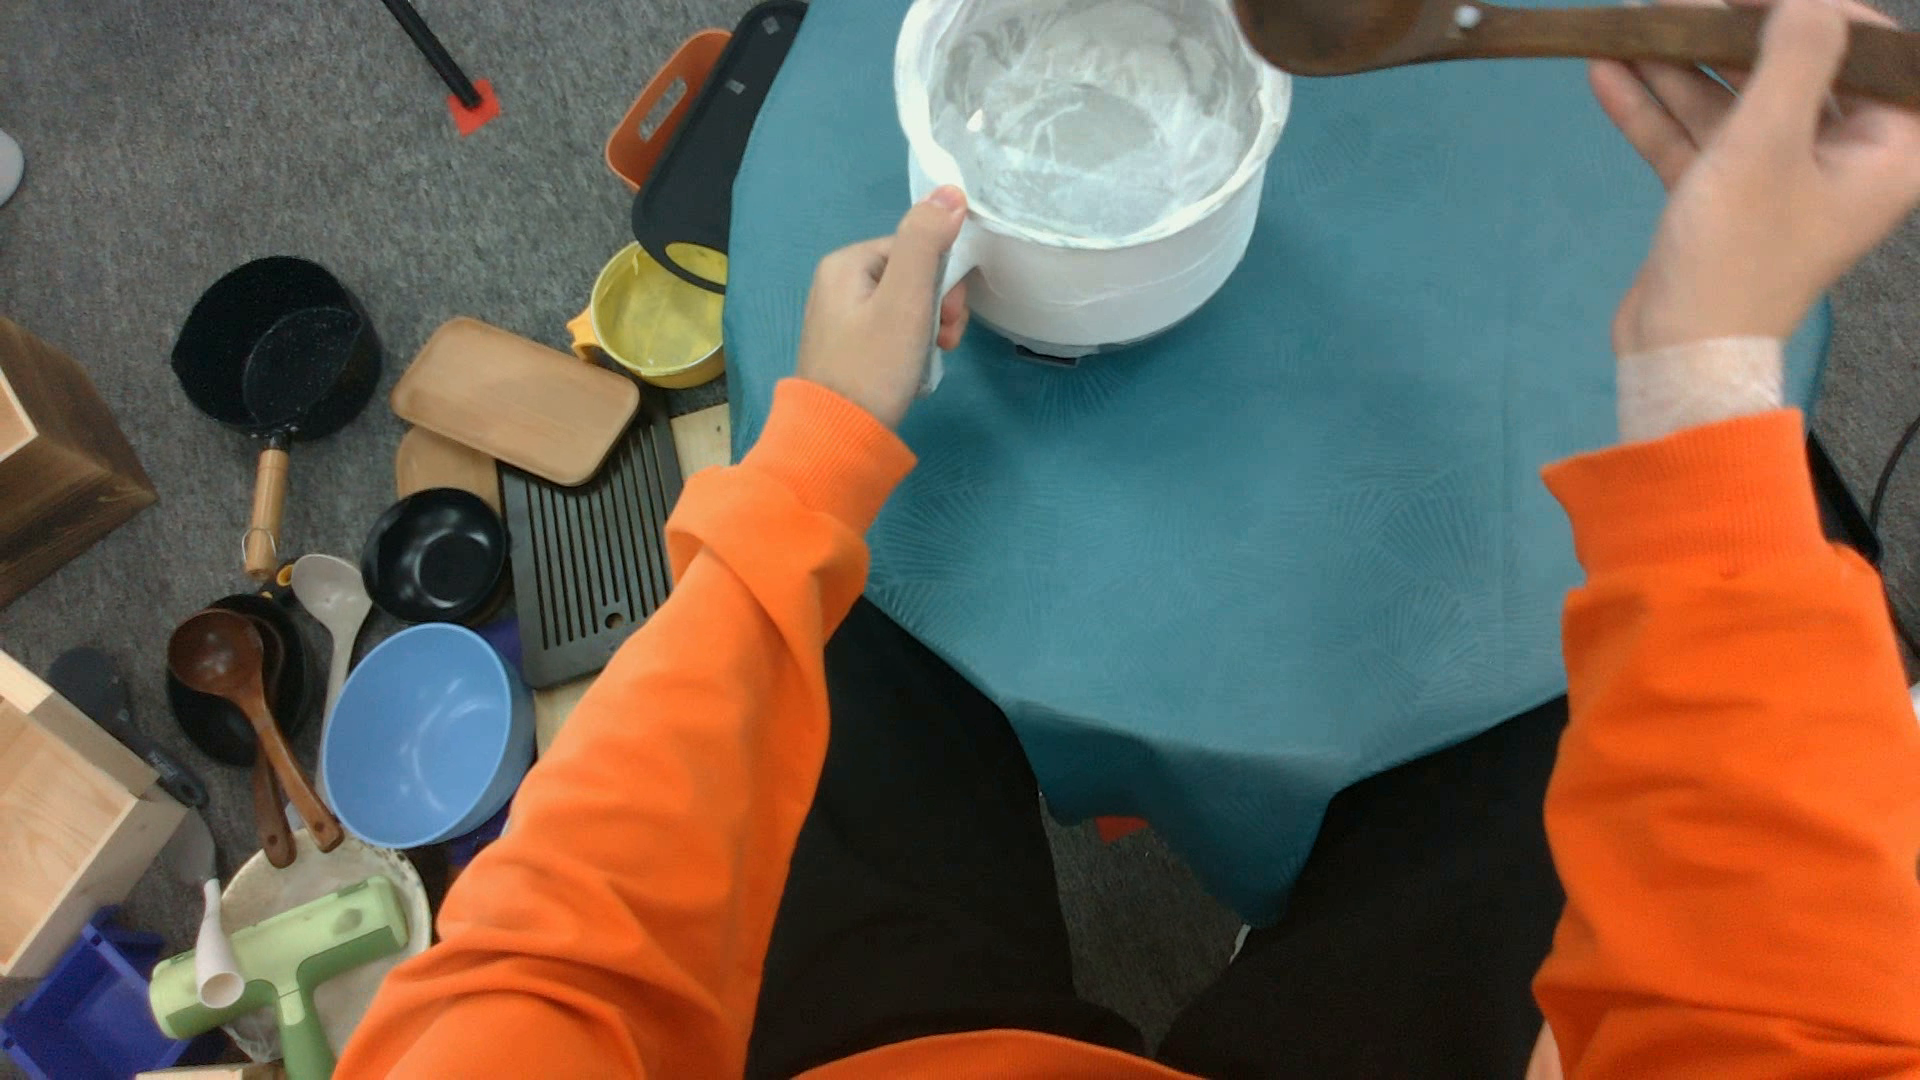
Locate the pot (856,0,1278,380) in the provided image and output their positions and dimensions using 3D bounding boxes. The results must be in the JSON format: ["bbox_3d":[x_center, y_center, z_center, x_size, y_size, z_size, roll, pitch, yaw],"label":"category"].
[{"bbox_3d":[0.038,-0.180,0.670,0.179,0.136,0.234,40,78,13],"label":"pot"}]

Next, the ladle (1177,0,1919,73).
[{"bbox_3d":[0.201,-0.198,0.484,0.274,0.071,0.076,20,89,39],"label":"ladle"}]
